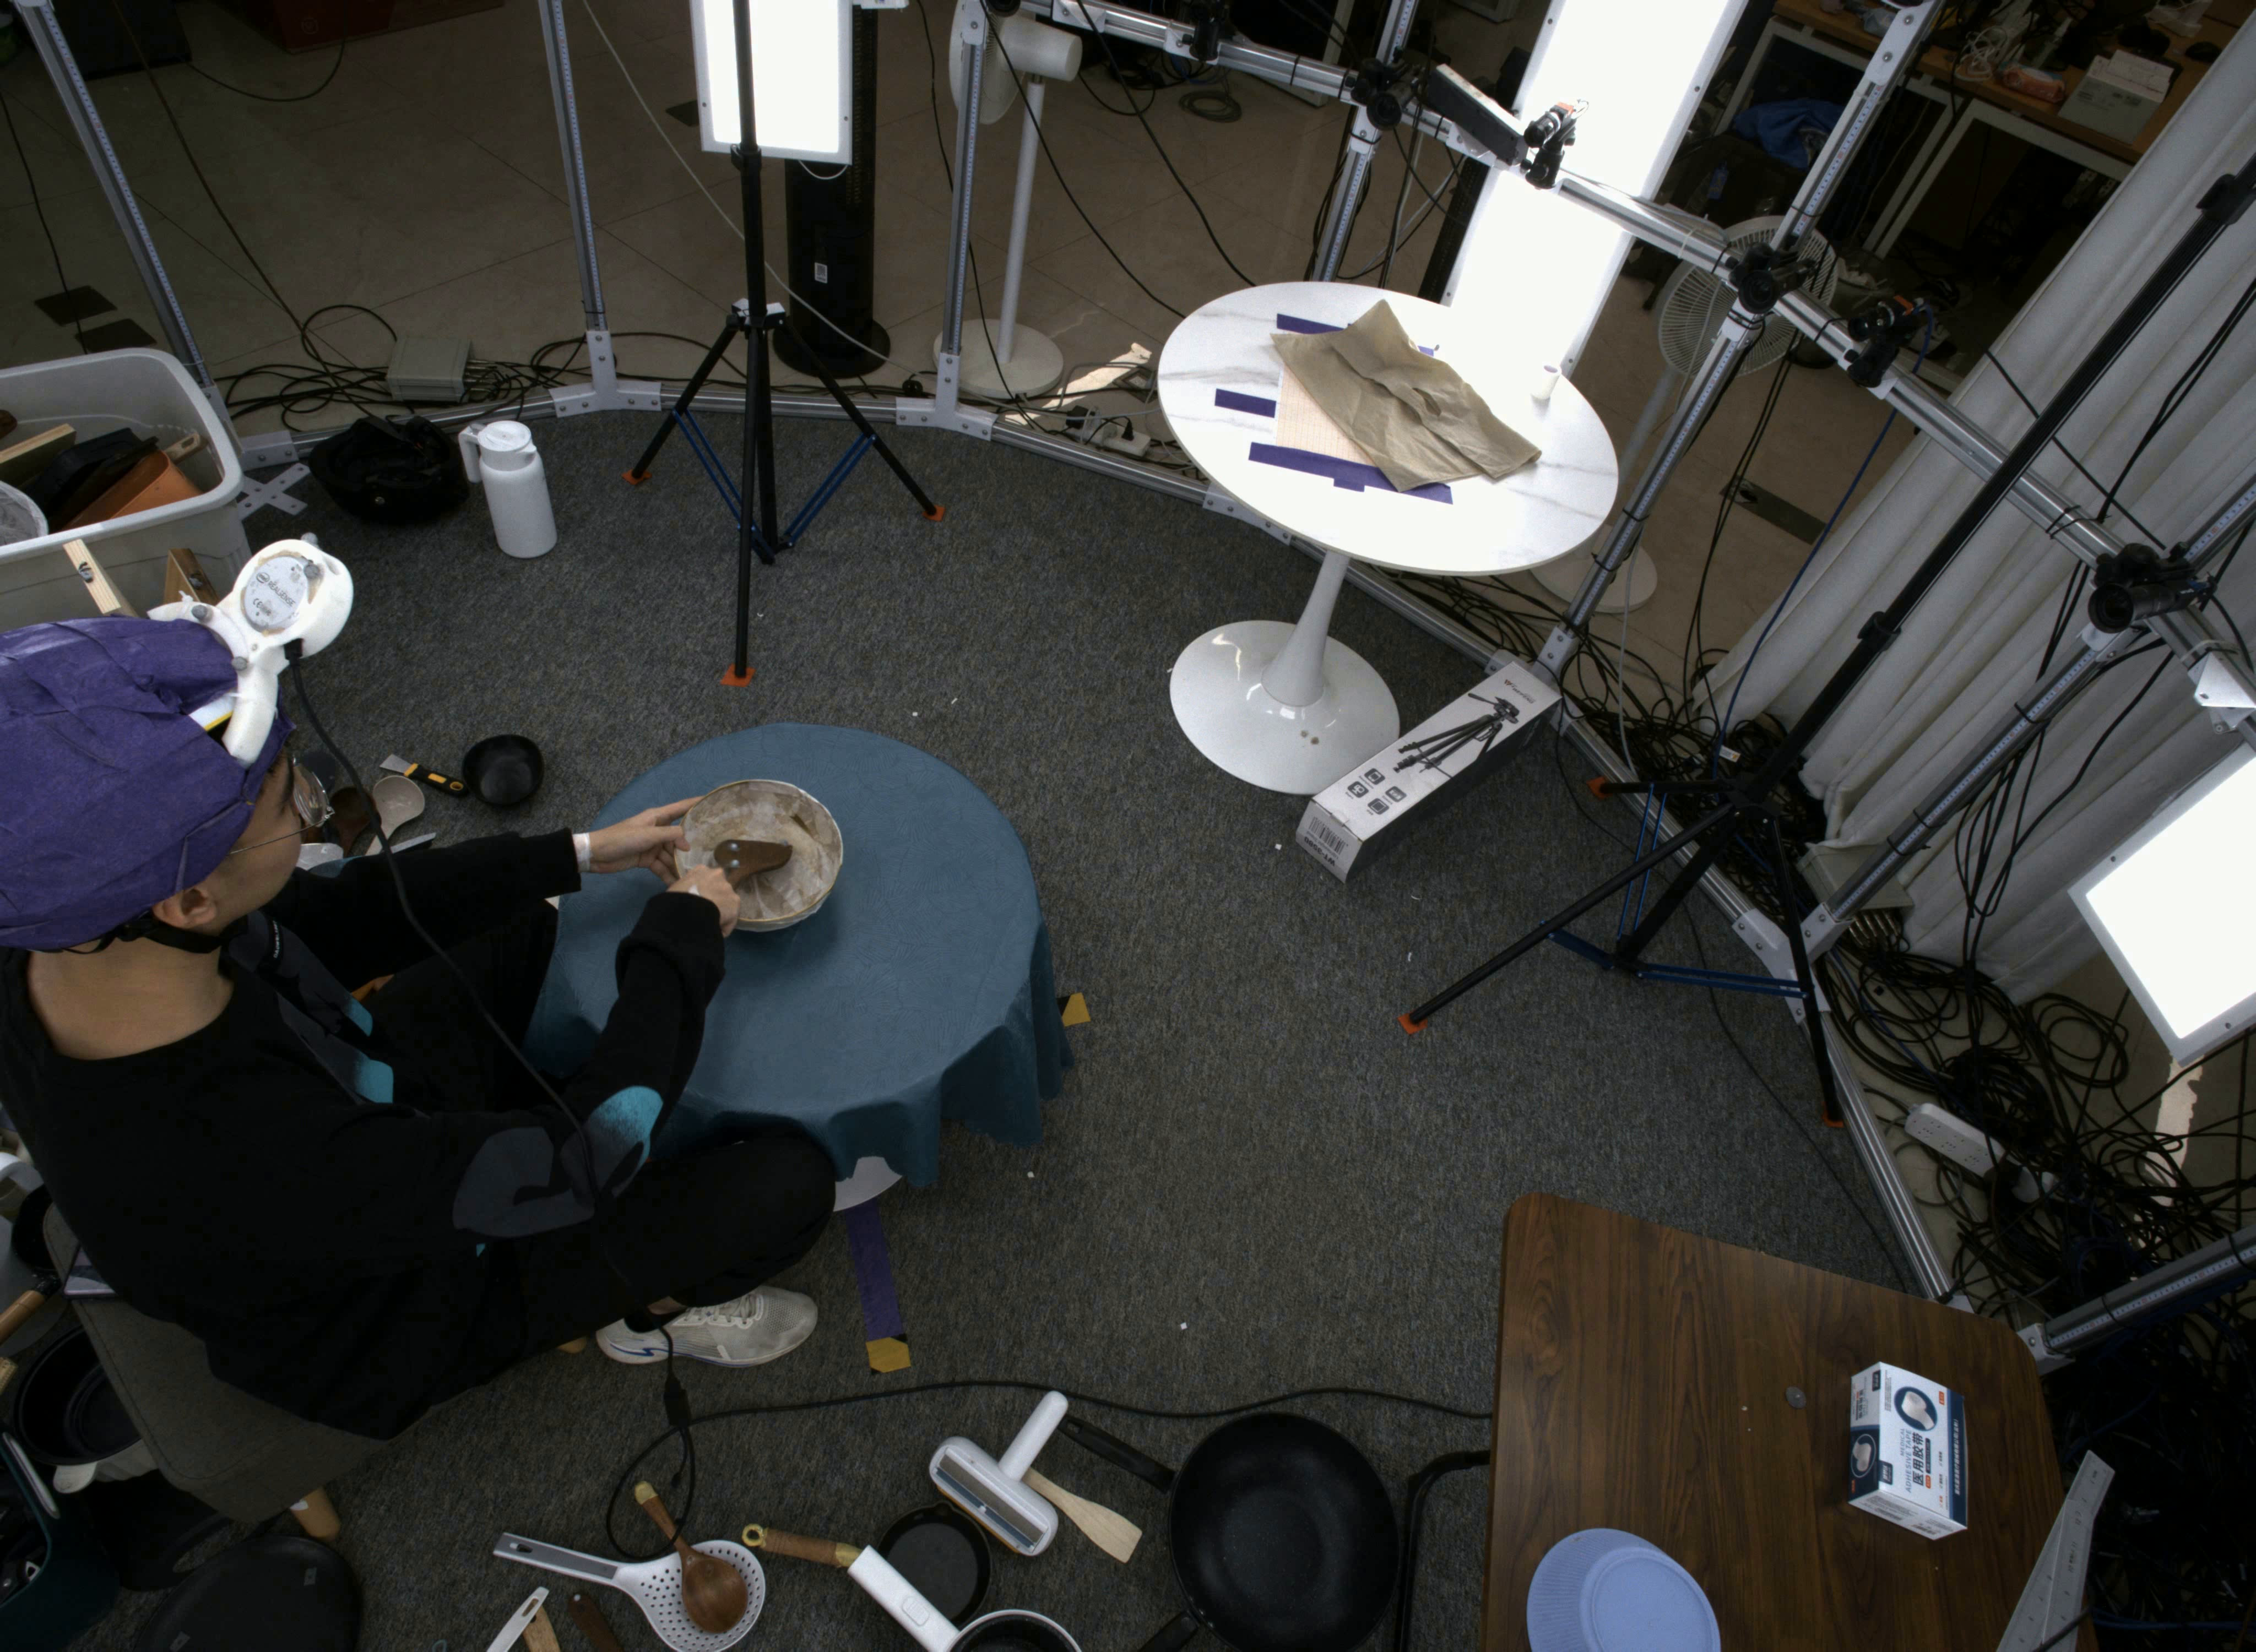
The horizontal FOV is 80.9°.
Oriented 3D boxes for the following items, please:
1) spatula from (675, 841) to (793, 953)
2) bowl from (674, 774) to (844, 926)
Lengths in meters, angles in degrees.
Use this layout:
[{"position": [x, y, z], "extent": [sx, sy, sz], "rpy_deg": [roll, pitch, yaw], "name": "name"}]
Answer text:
[{"position": [-0.460, 0.072, 1.478], "extent": [0.096, 0.016, 0.379], "rpy_deg": [6, 14, -6], "name": "spatula"}, {"position": [-0.464, 0.043, 1.601], "extent": [0.217, 0.095, 0.211], "rpy_deg": [16, 50, -18], "name": "bowl"}]
